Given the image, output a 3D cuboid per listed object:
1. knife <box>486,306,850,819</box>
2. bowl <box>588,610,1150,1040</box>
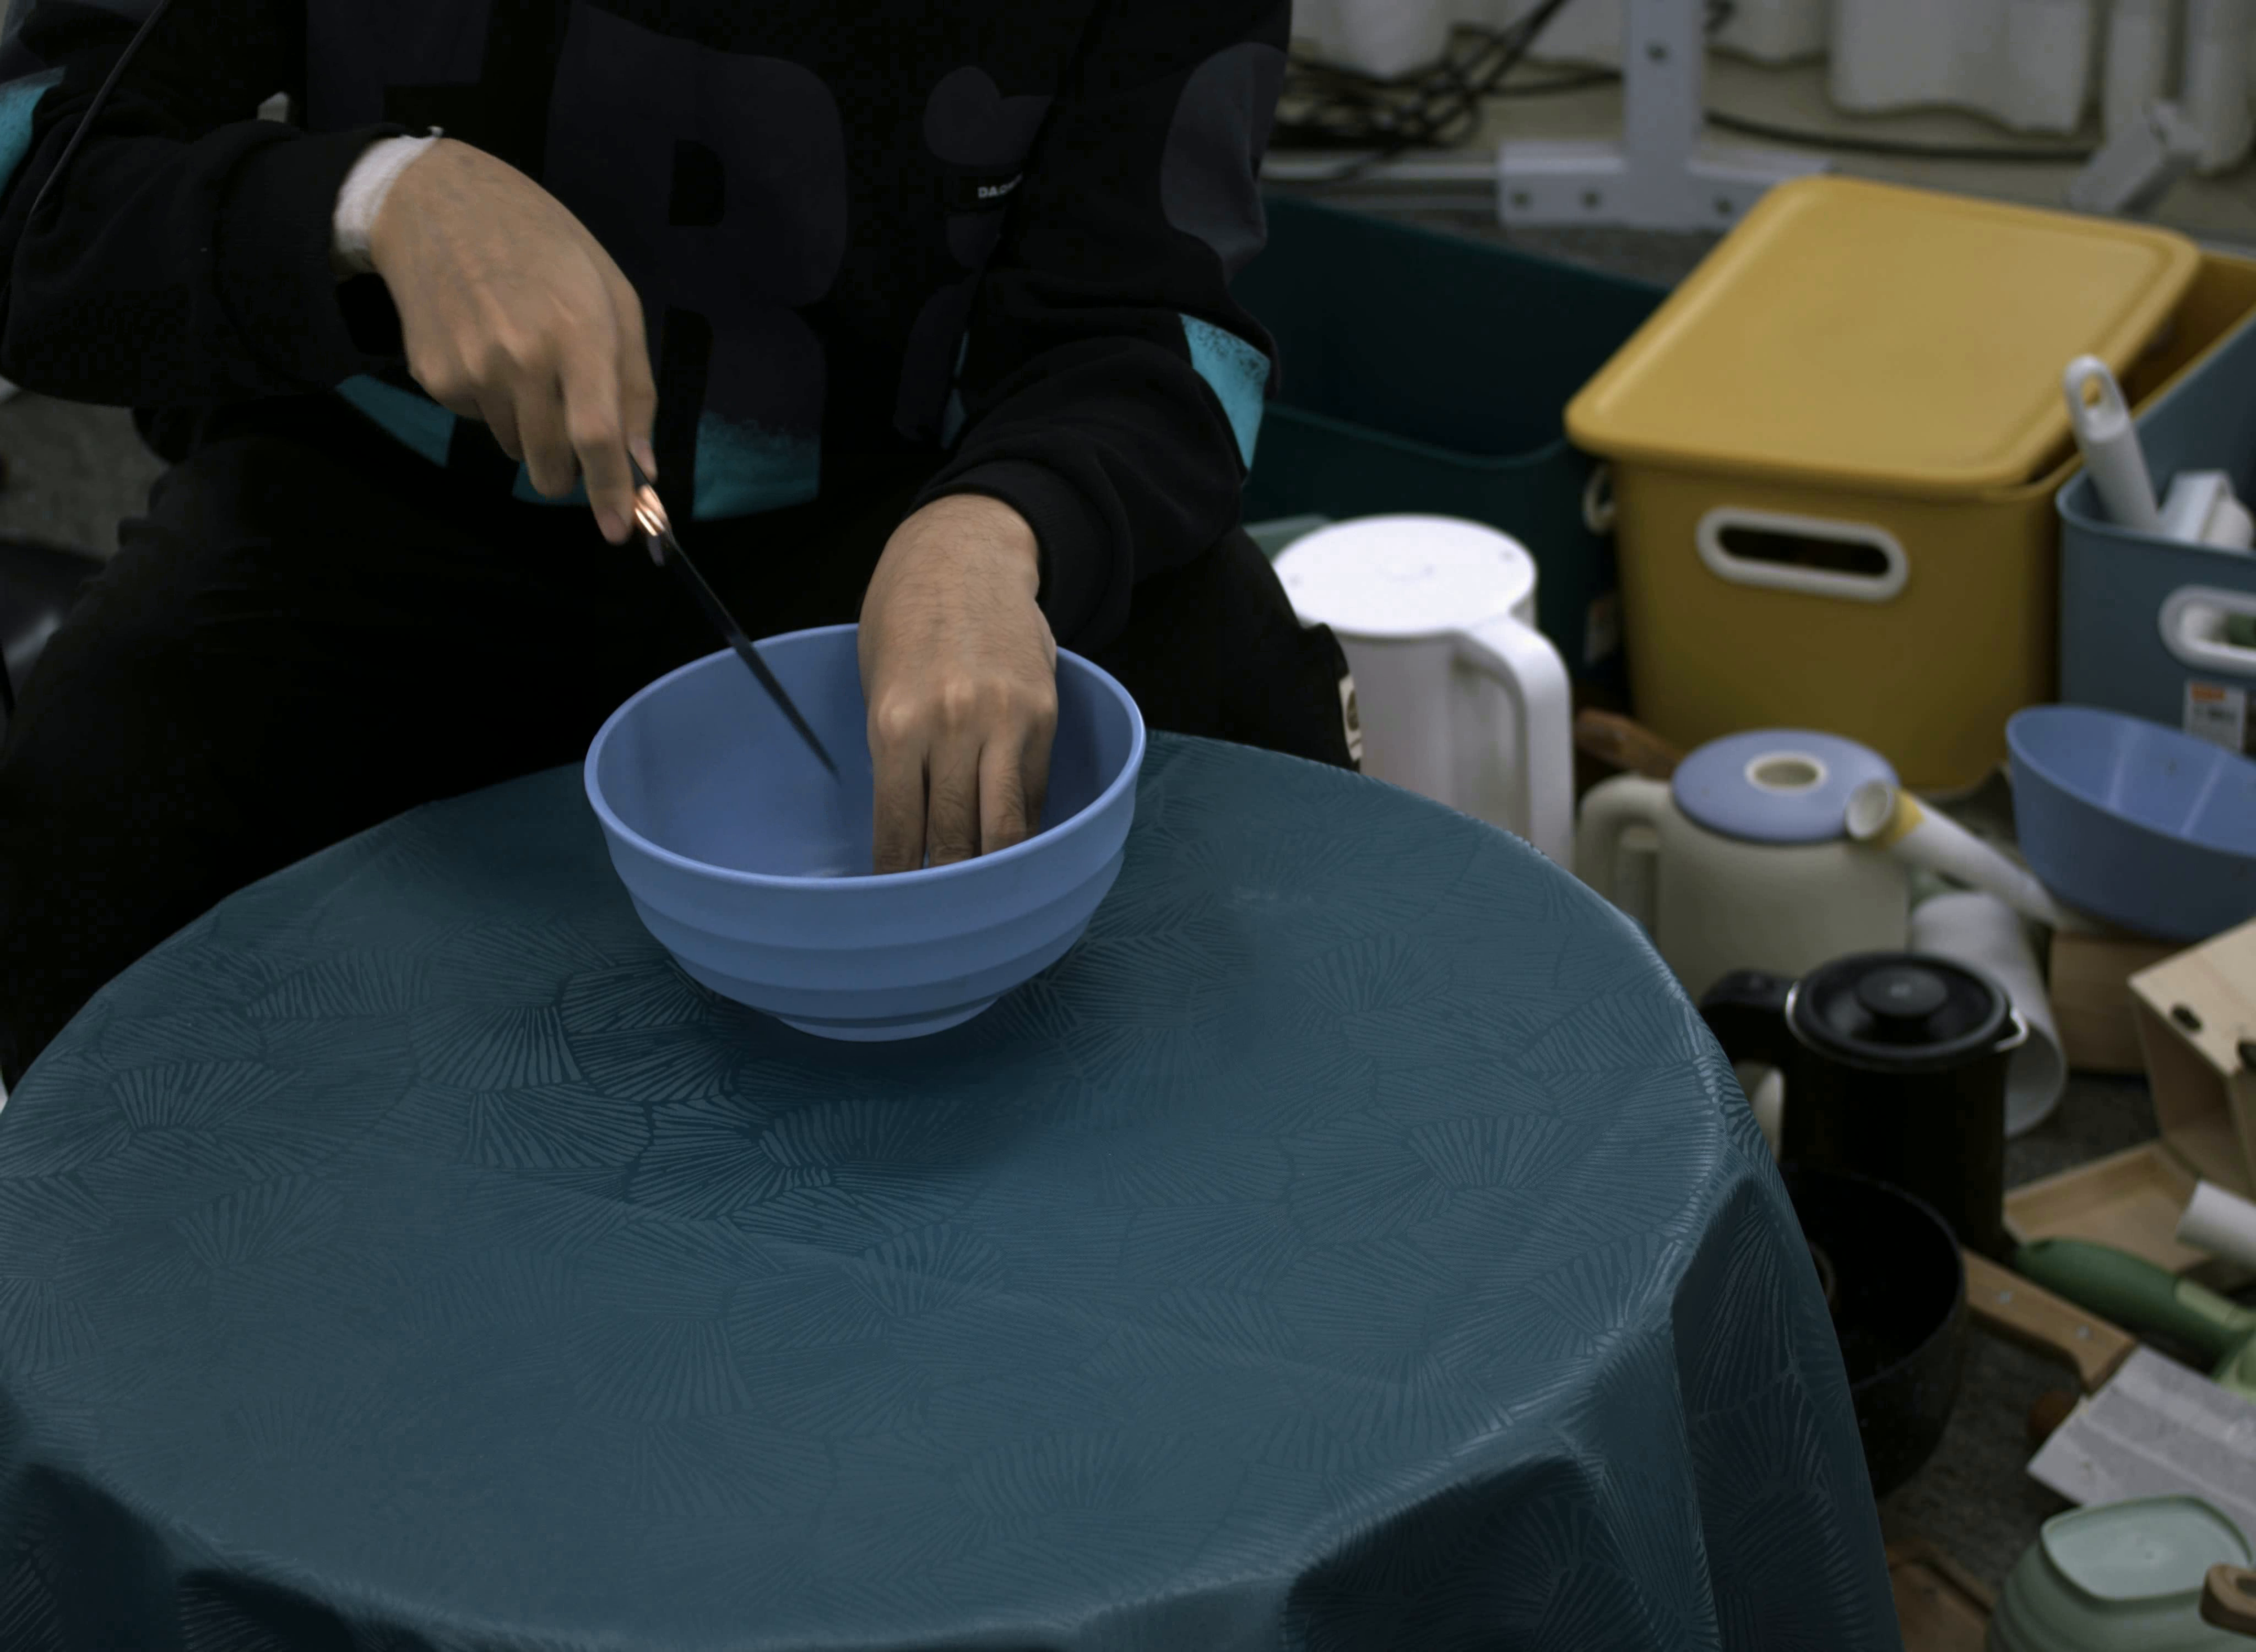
[{"bbox_3d":[-0.160,-0.093,1.967,0.017,0.026,0.227,-28,71,-24],"label":"knife"},{"bbox_3d":[-0.089,0.011,1.976,0.195,0.094,0.200,-1,30,1],"label":"bowl"}]
